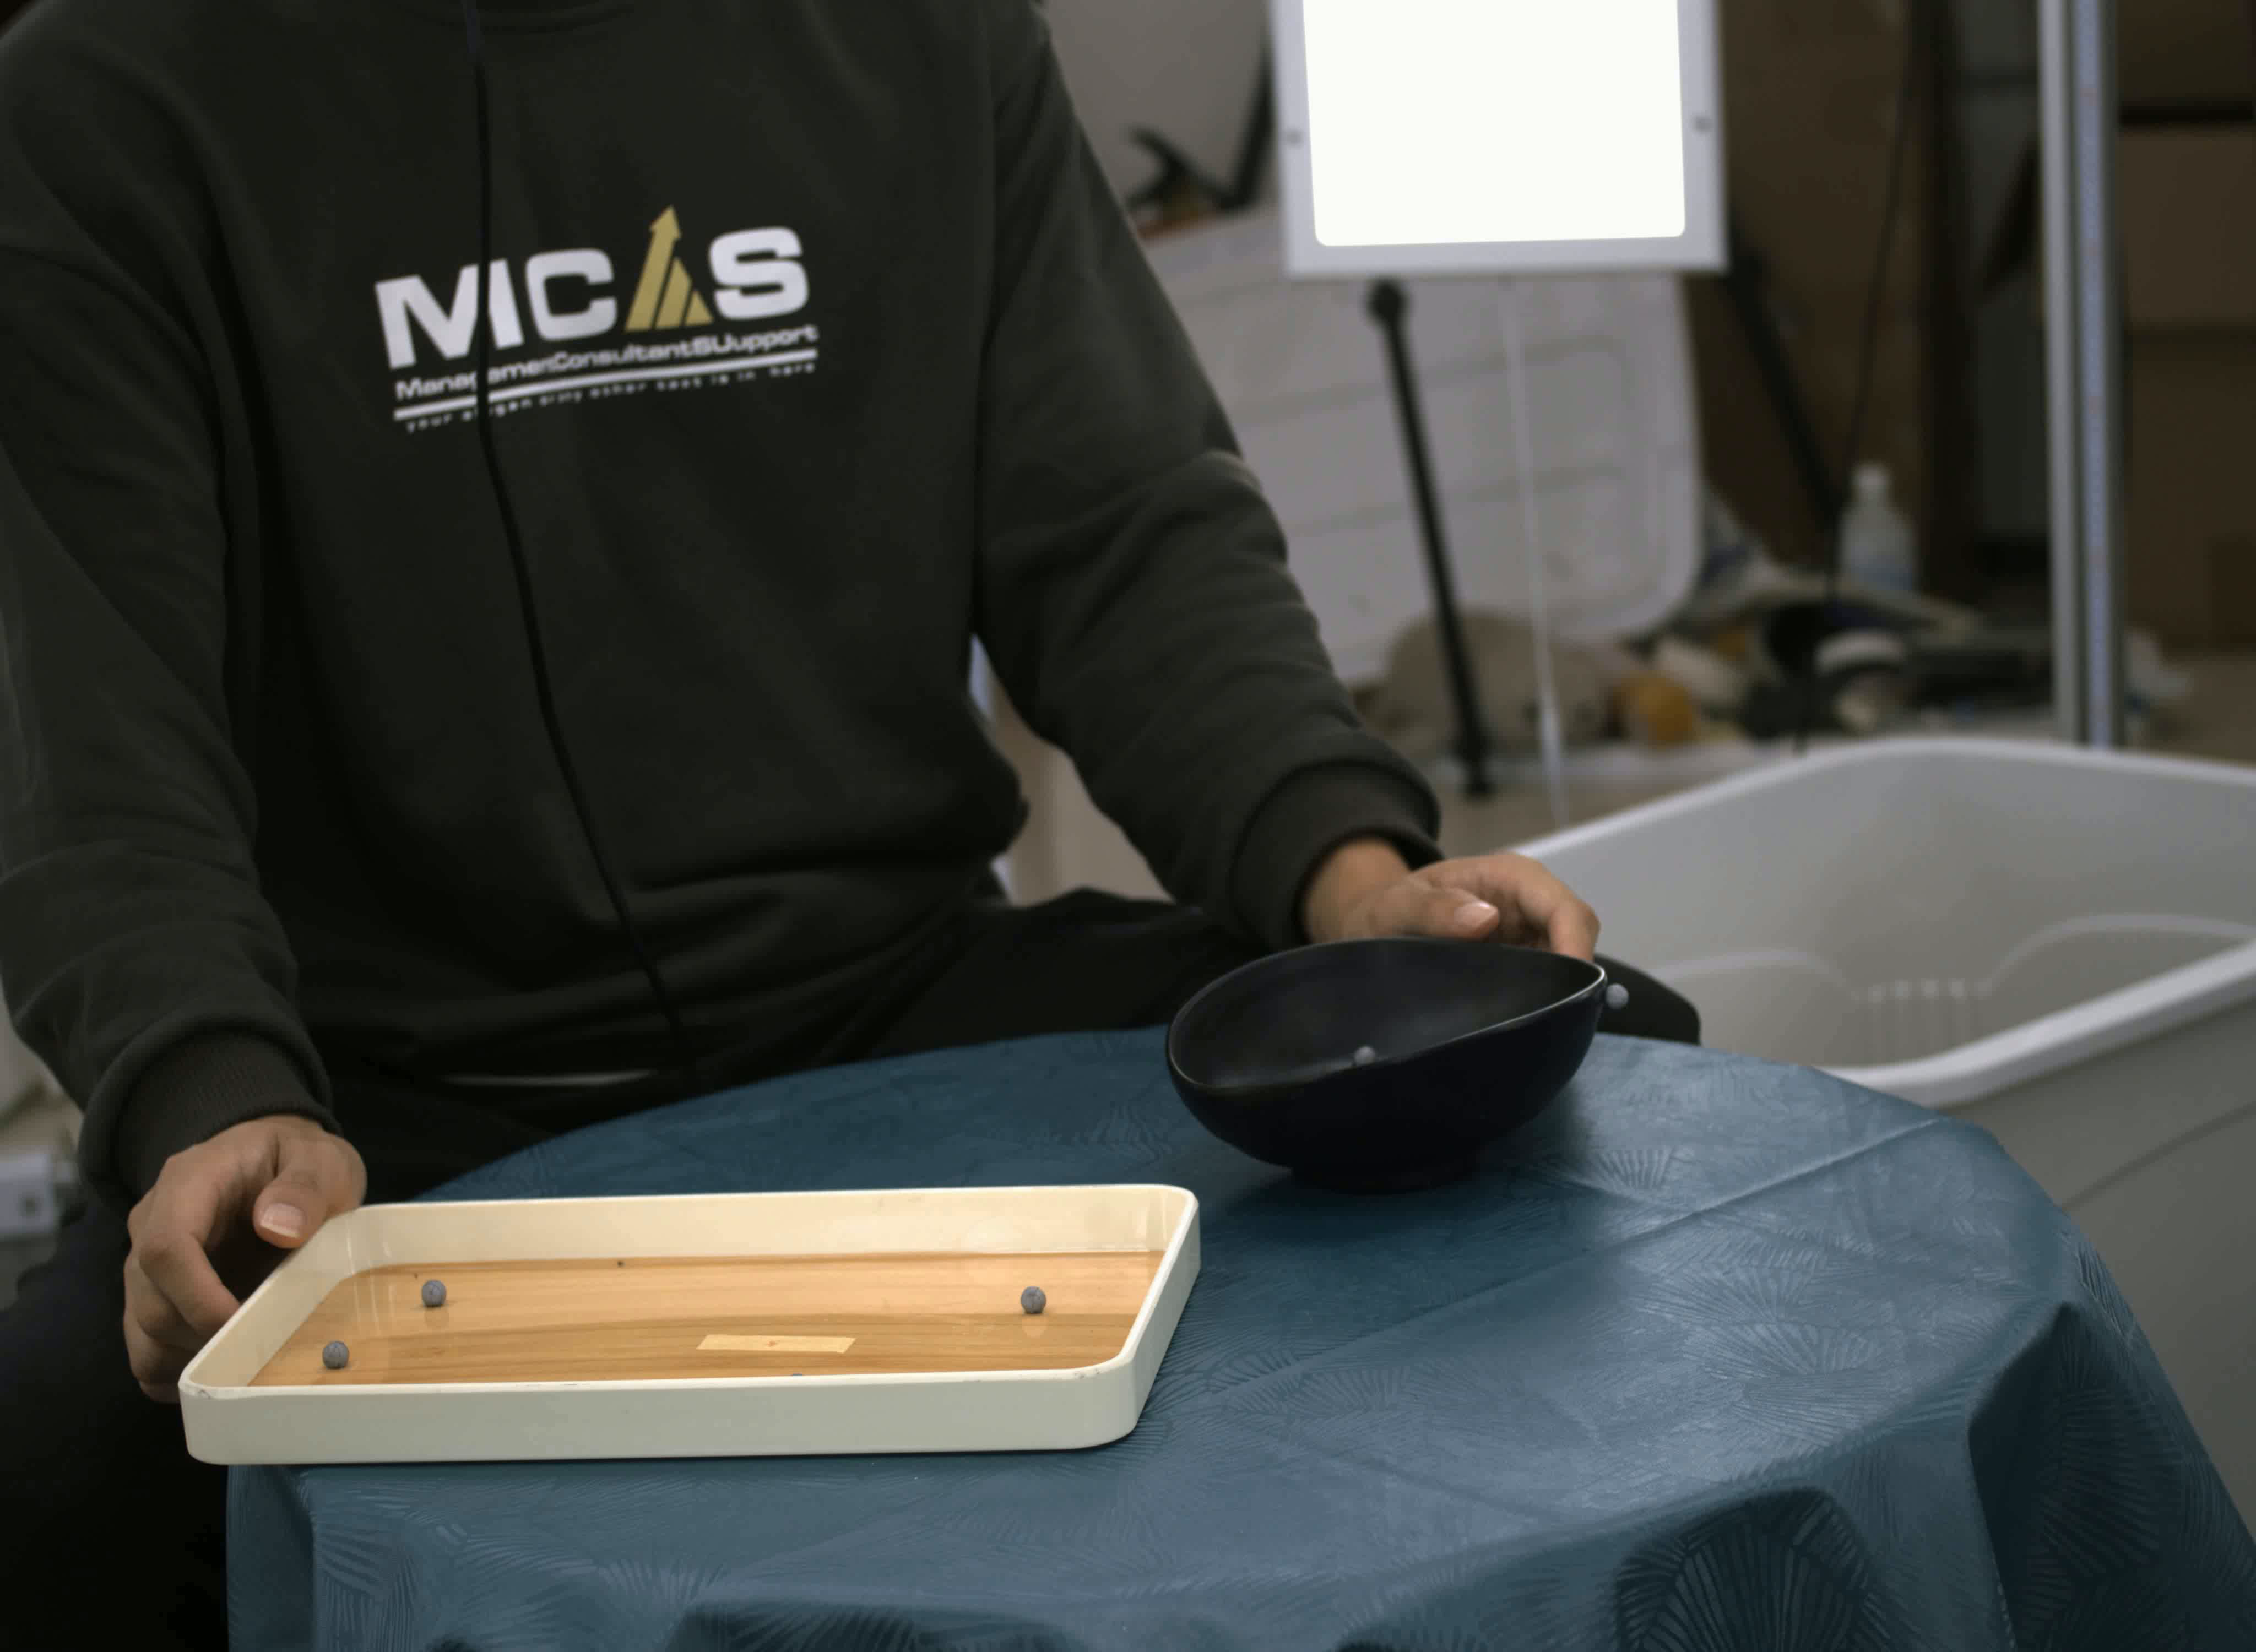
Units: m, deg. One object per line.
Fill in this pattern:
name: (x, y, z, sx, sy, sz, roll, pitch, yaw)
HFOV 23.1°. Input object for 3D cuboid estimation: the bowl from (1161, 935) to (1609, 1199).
bowl: (0.092, 0.088, 1.899, 0.166, 0.067, 0.140, -18, 17, -38)

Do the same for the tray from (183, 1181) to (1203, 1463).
tray: (-0.133, 0.157, 1.762, 0.302, 0.027, 0.189, -2, 14, 11)
